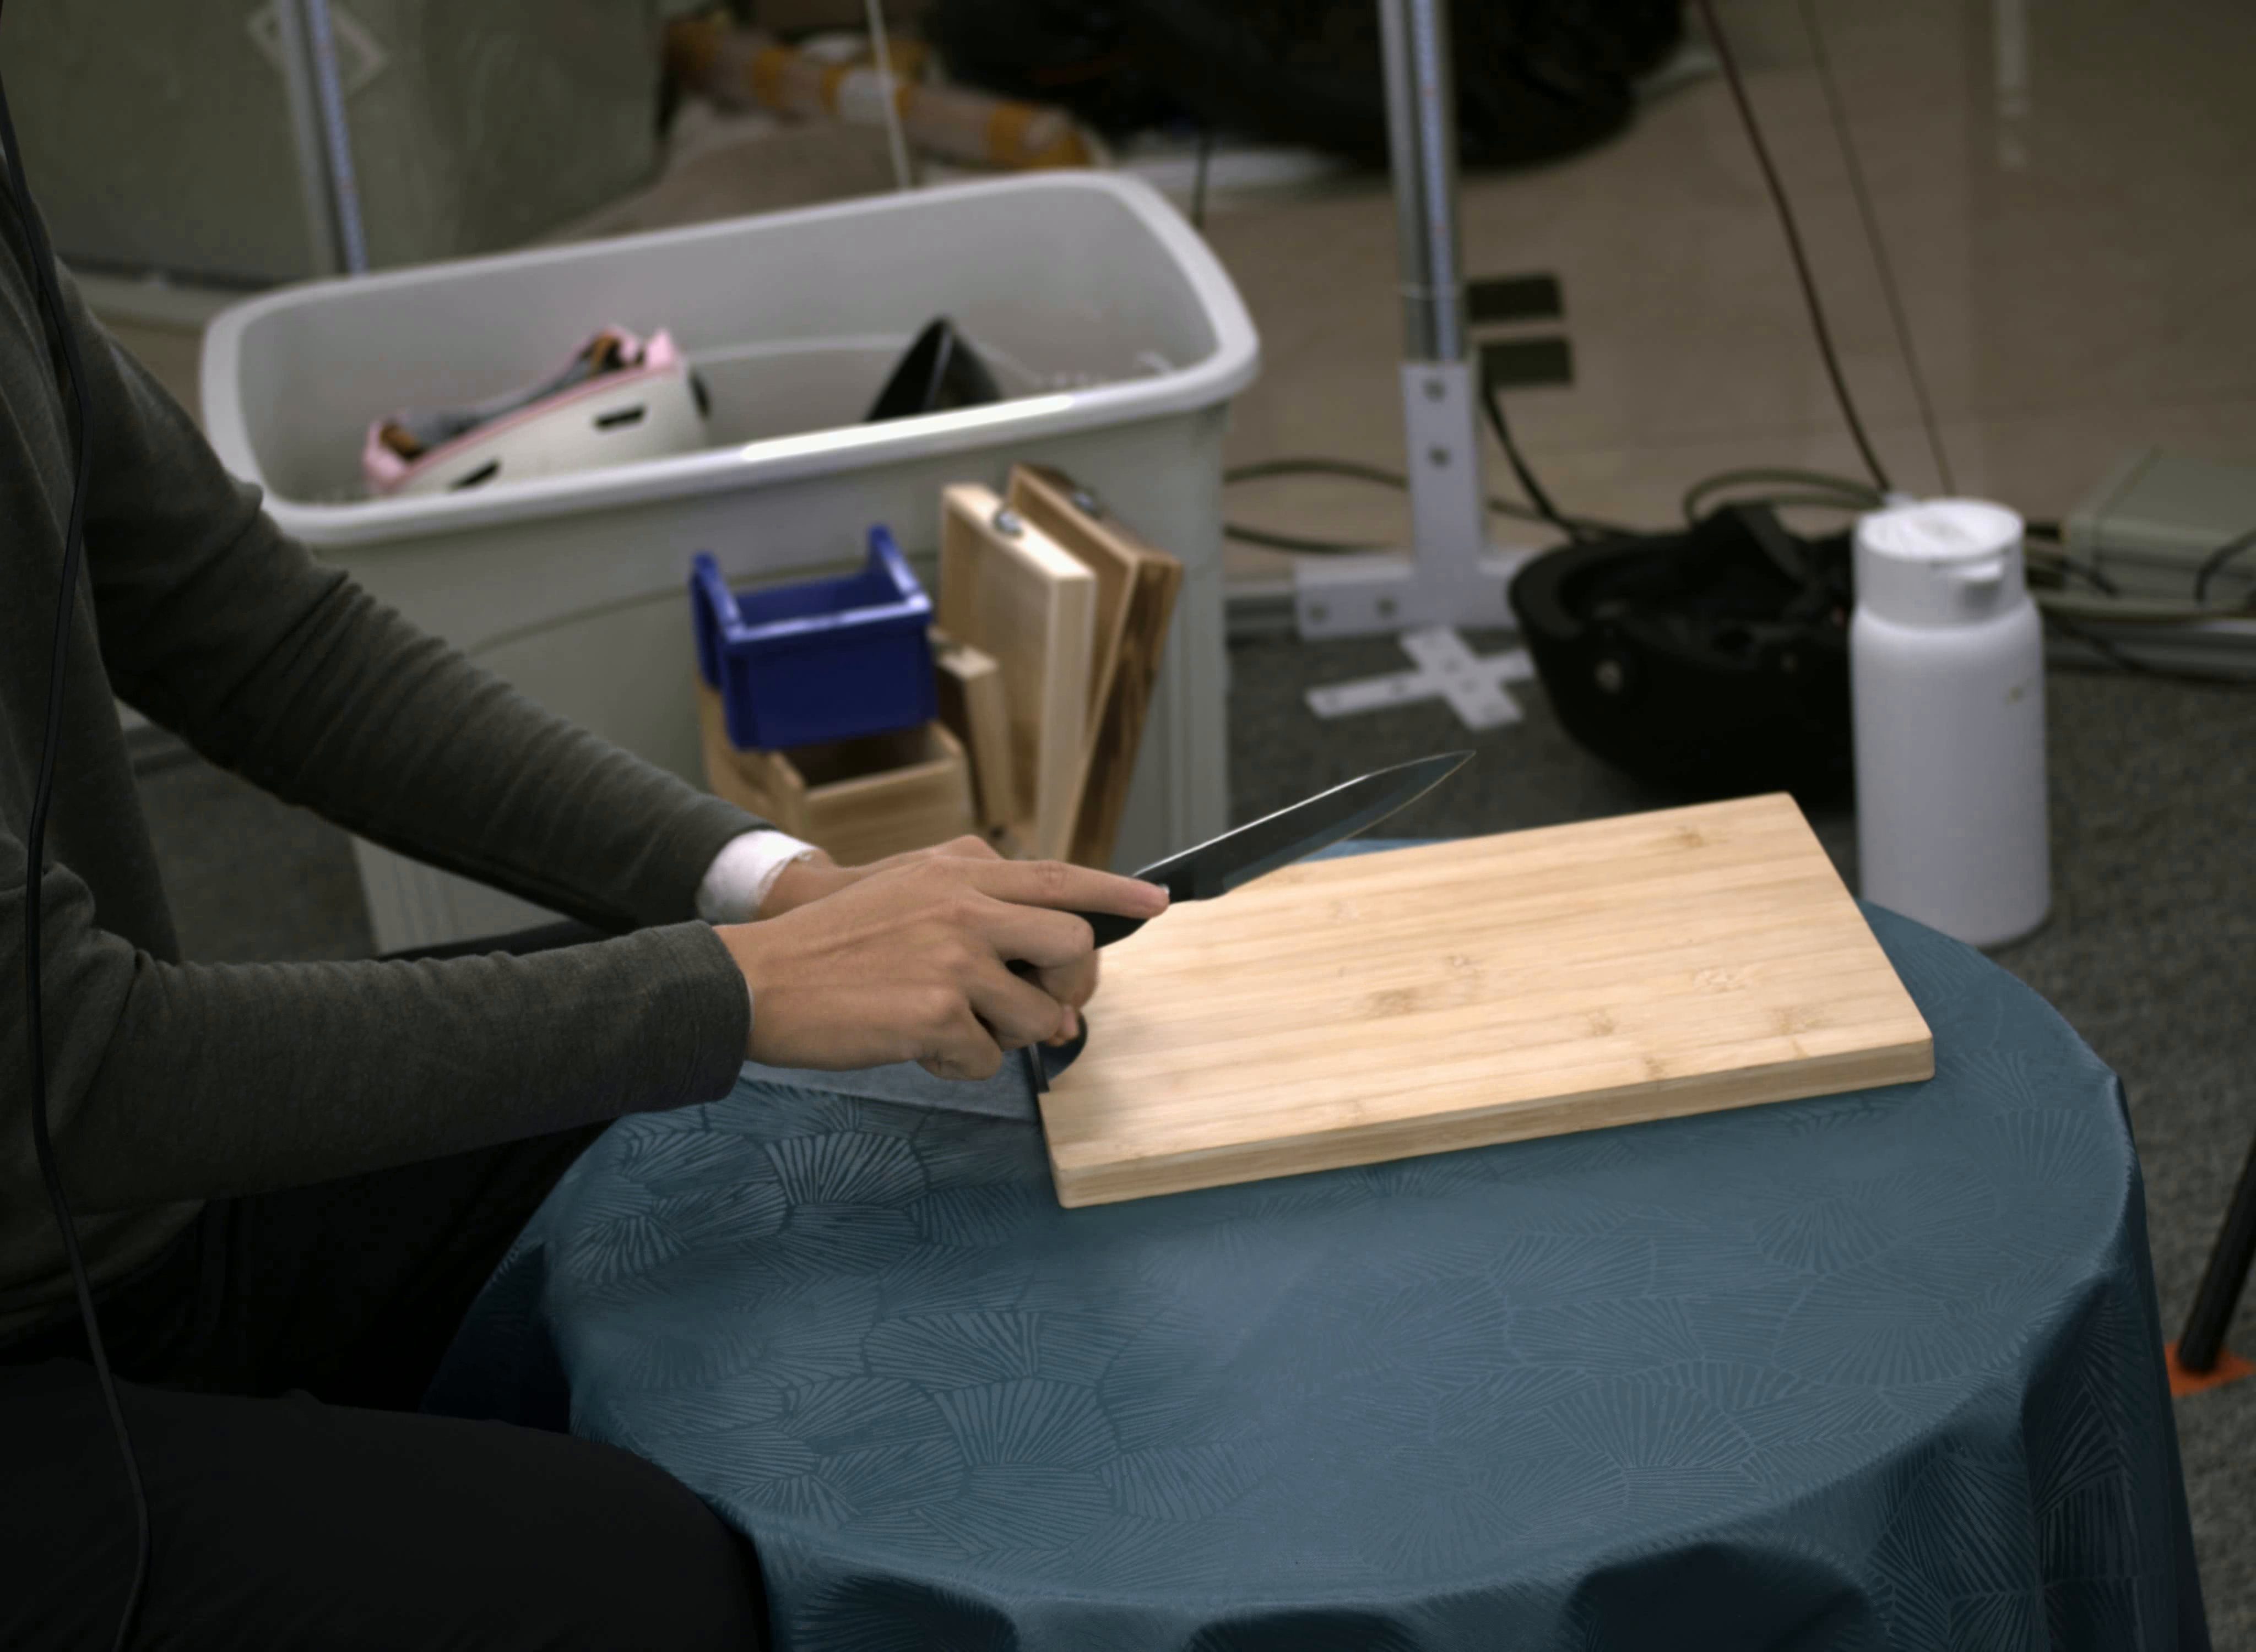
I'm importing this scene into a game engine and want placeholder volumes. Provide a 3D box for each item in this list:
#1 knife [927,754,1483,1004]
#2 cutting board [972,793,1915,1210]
[{"bbox_3d":[0.030,0.014,2.164,0.237,0.025,0.016,-22,23,-13],"label":"knife"},{"bbox_3d":[0.121,0.067,2.259,0.348,0.024,0.247,-9,24,-5],"label":"cutting board"}]
